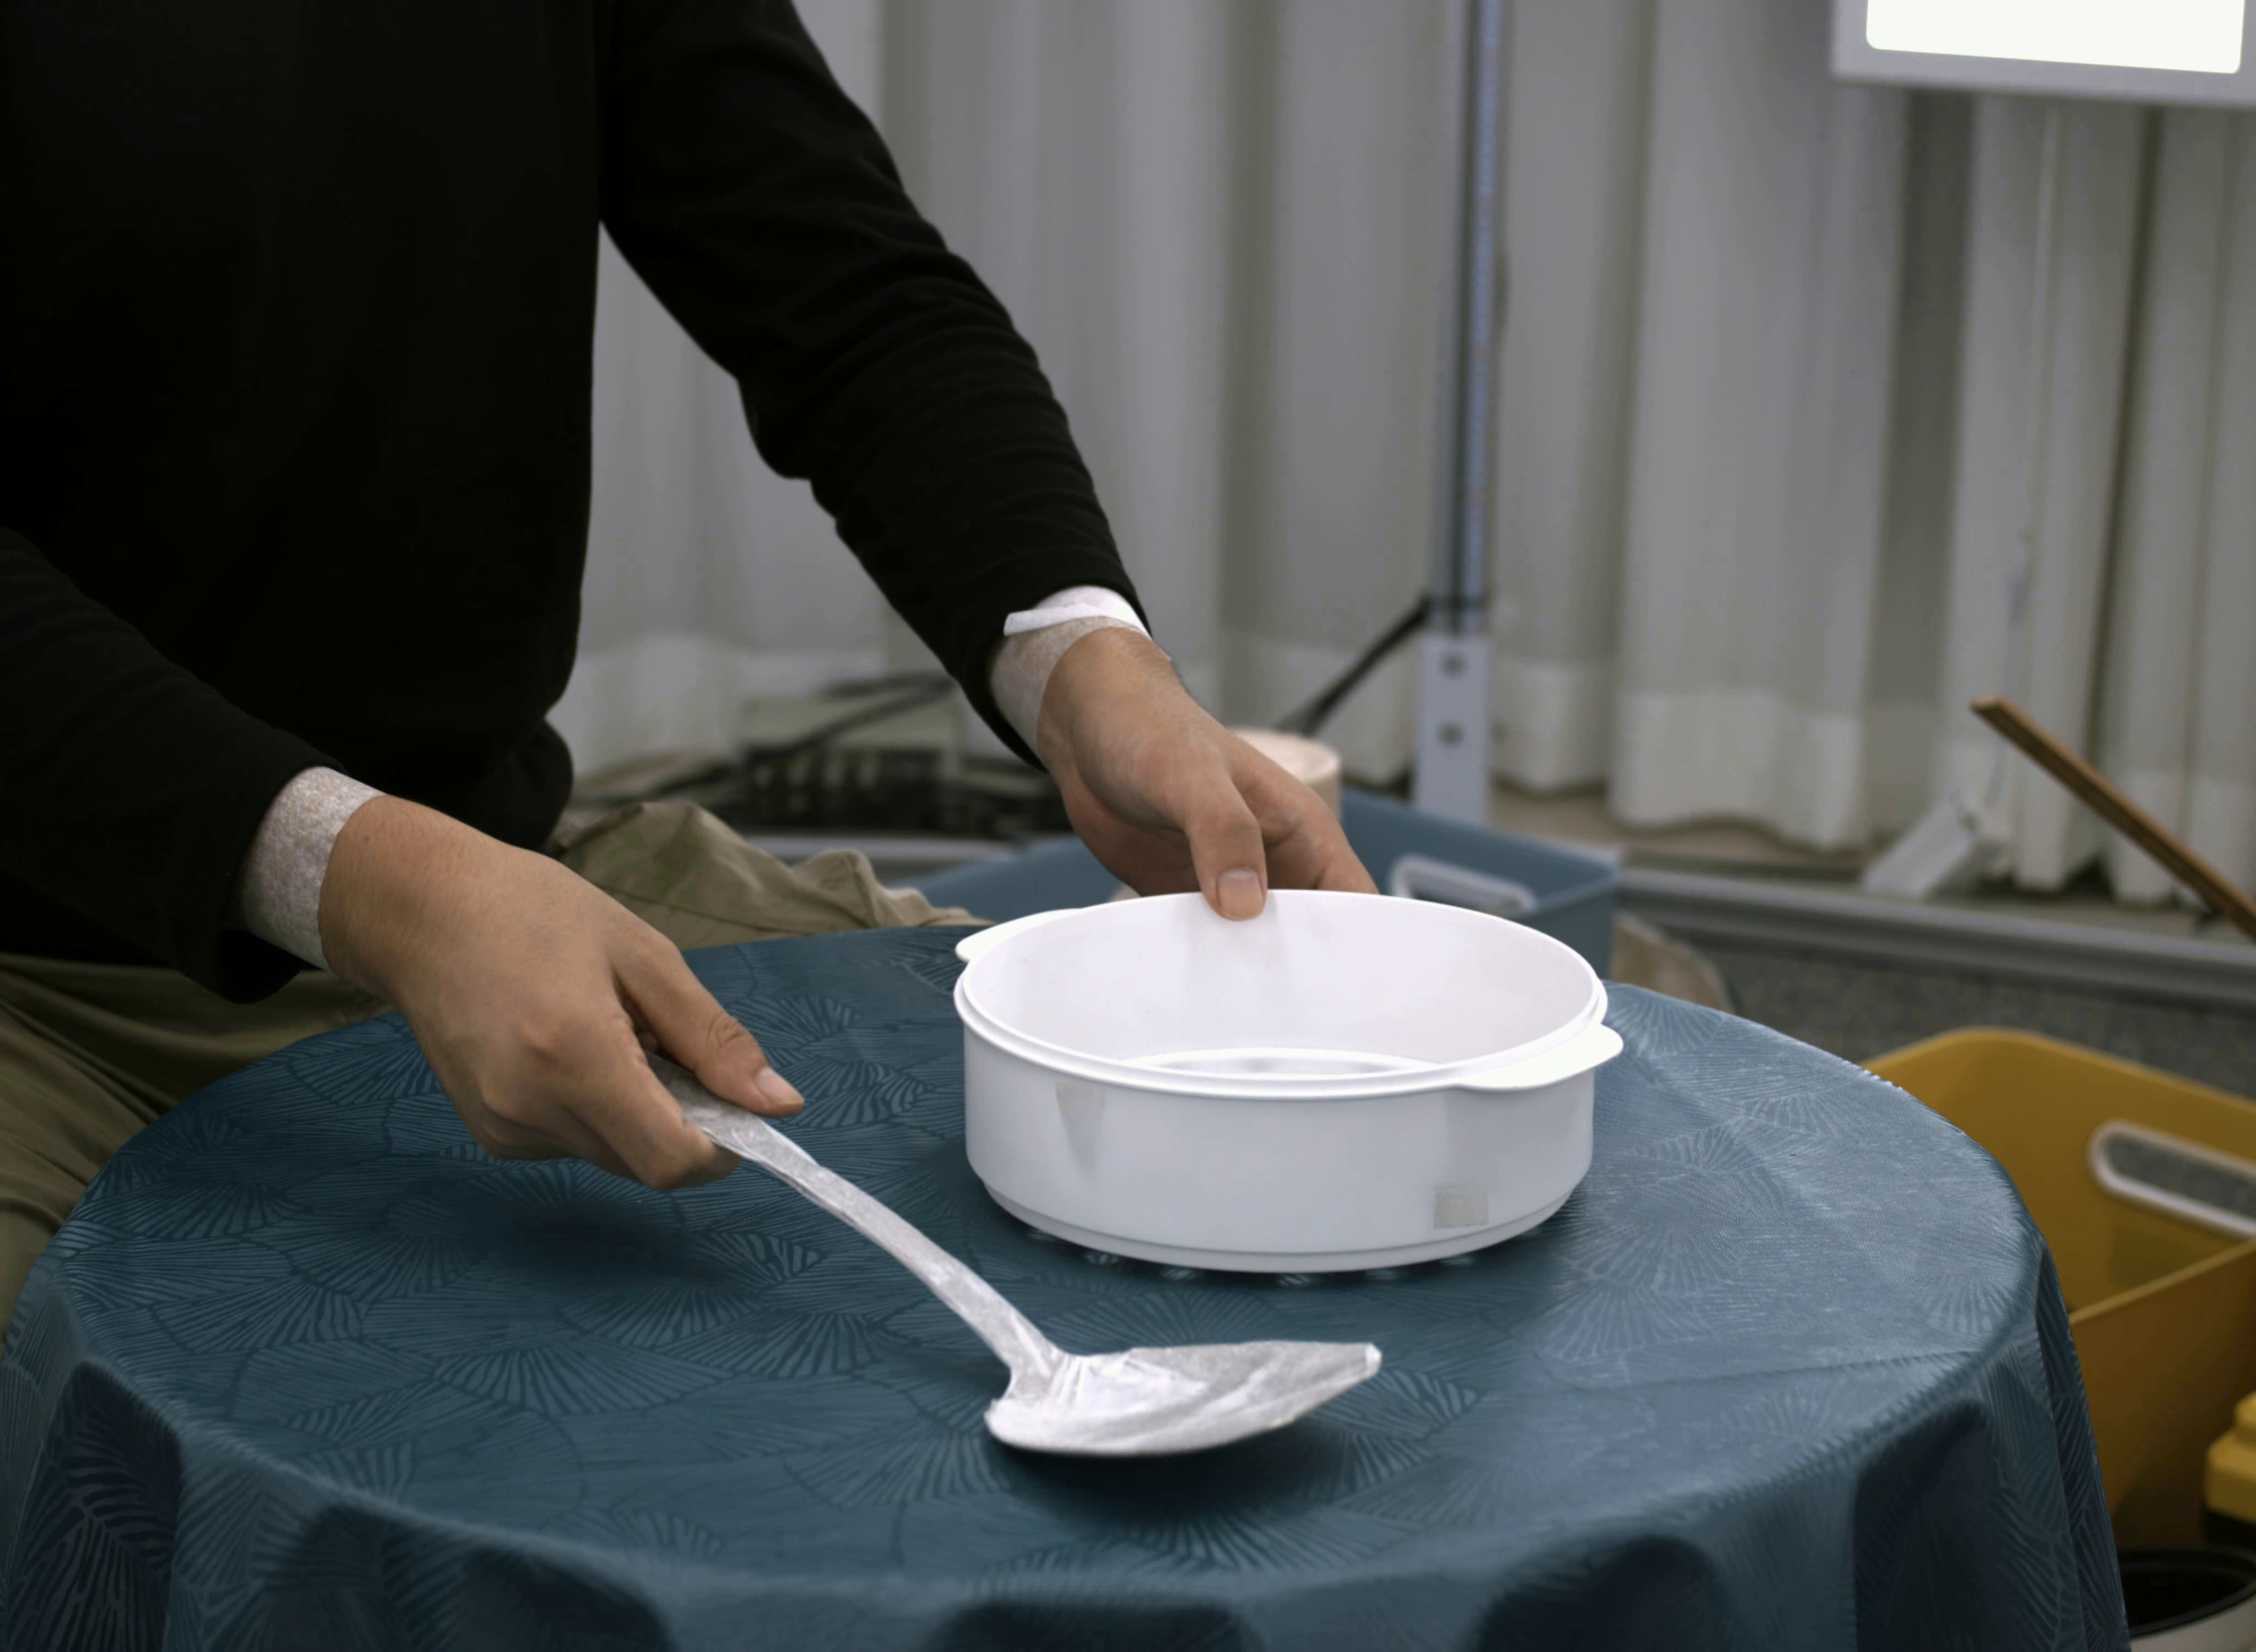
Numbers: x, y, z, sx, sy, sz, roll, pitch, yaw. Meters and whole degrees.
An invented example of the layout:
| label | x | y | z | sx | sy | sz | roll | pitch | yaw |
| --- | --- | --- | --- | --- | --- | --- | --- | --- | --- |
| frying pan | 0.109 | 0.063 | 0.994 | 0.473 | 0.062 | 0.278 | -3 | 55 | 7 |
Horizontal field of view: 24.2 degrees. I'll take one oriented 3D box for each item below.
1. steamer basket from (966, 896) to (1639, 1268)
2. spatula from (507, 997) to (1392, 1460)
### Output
| label | x | y | z | sx | sy | sz | roll | pitch | yaw |
| --- | --- | --- | --- | --- | --- | --- | --- | --- | --- |
| steamer basket | 0.051 | 0.078 | 1.615 | 0.227 | 0.070 | 0.203 | 12 | 18 | 38 |
| spatula | -0.075 | 0.105 | 1.502 | 0.099 | 0.045 | 0.360 | -20 | 35 | -38 |
